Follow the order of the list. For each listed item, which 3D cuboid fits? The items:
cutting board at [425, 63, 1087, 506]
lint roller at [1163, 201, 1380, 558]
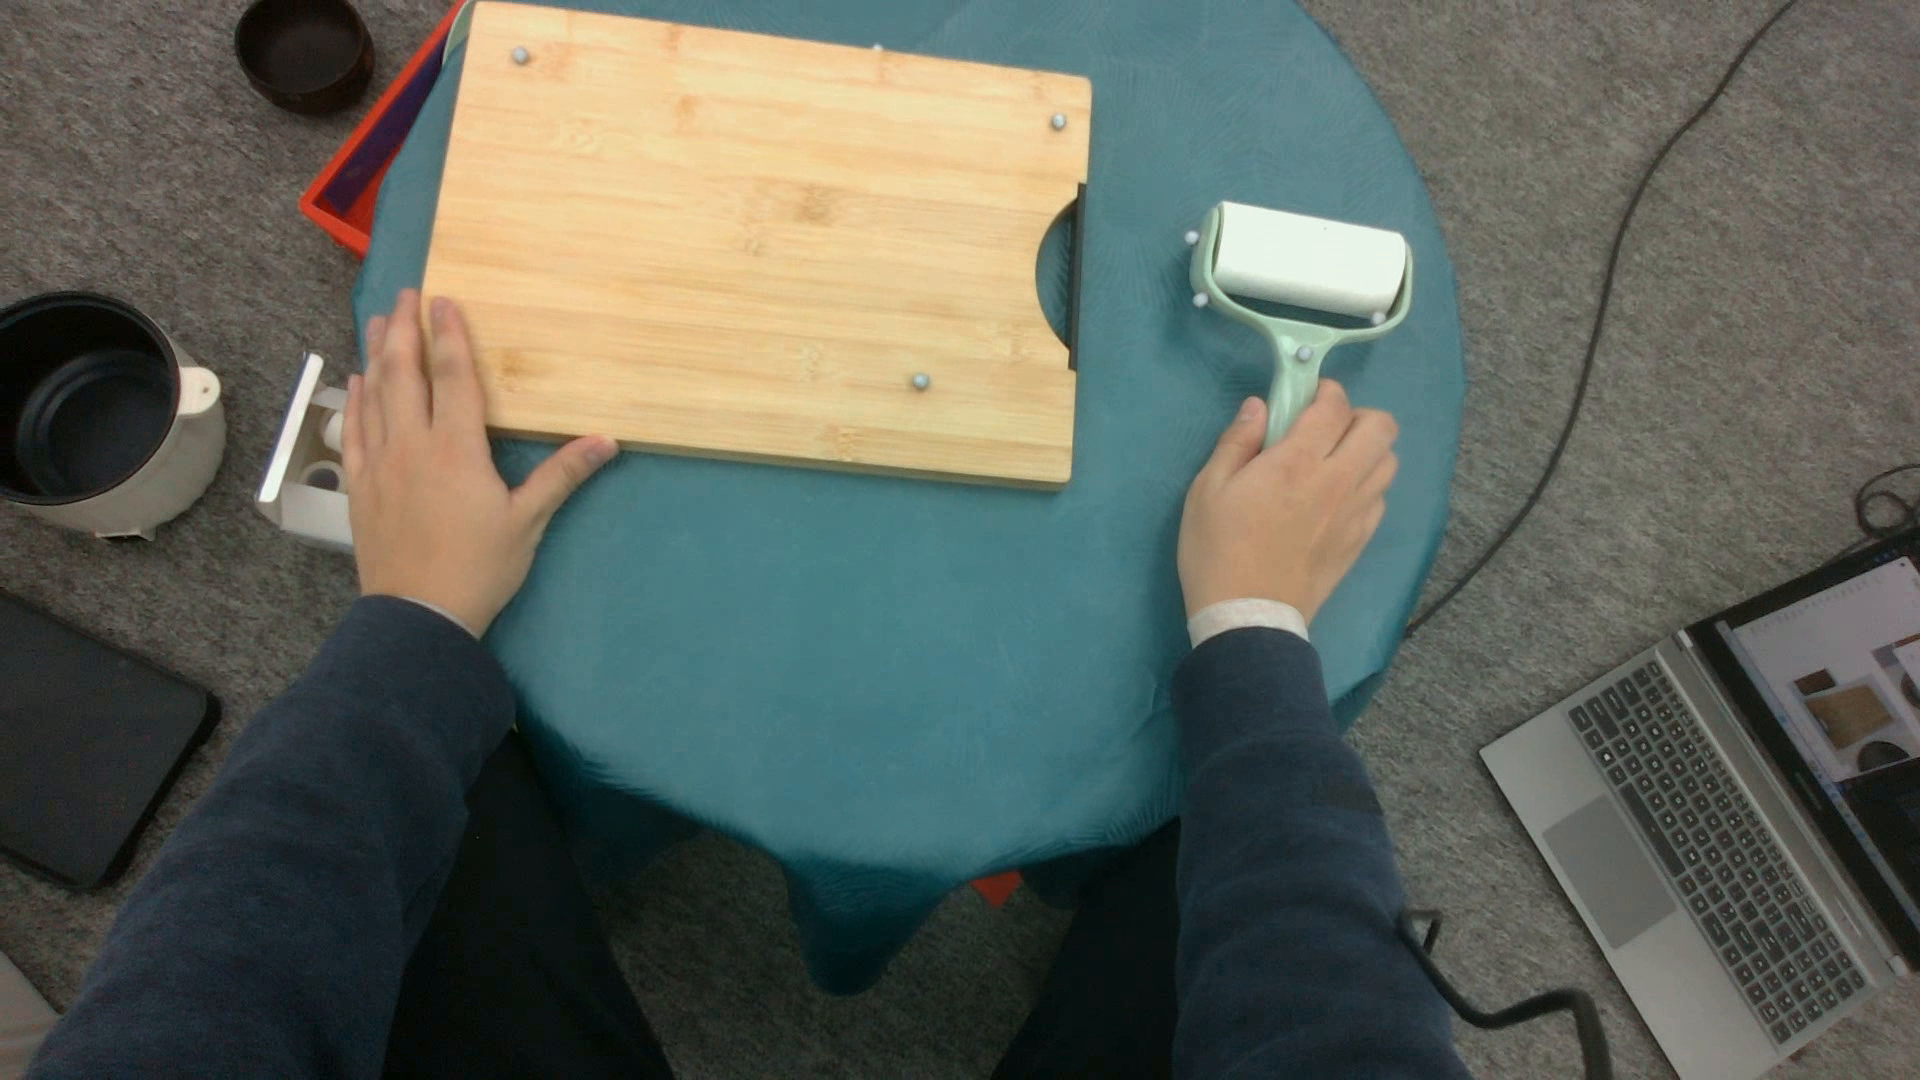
[{"bbox_3d":[-0.103,-0.143,0.761,0.349,0.023,0.251,1,74,-4],"label":"cutting board"},{"bbox_3d":[0.167,-0.090,0.754,0.116,0.048,0.198,6,76,-5],"label":"lint roller"}]
